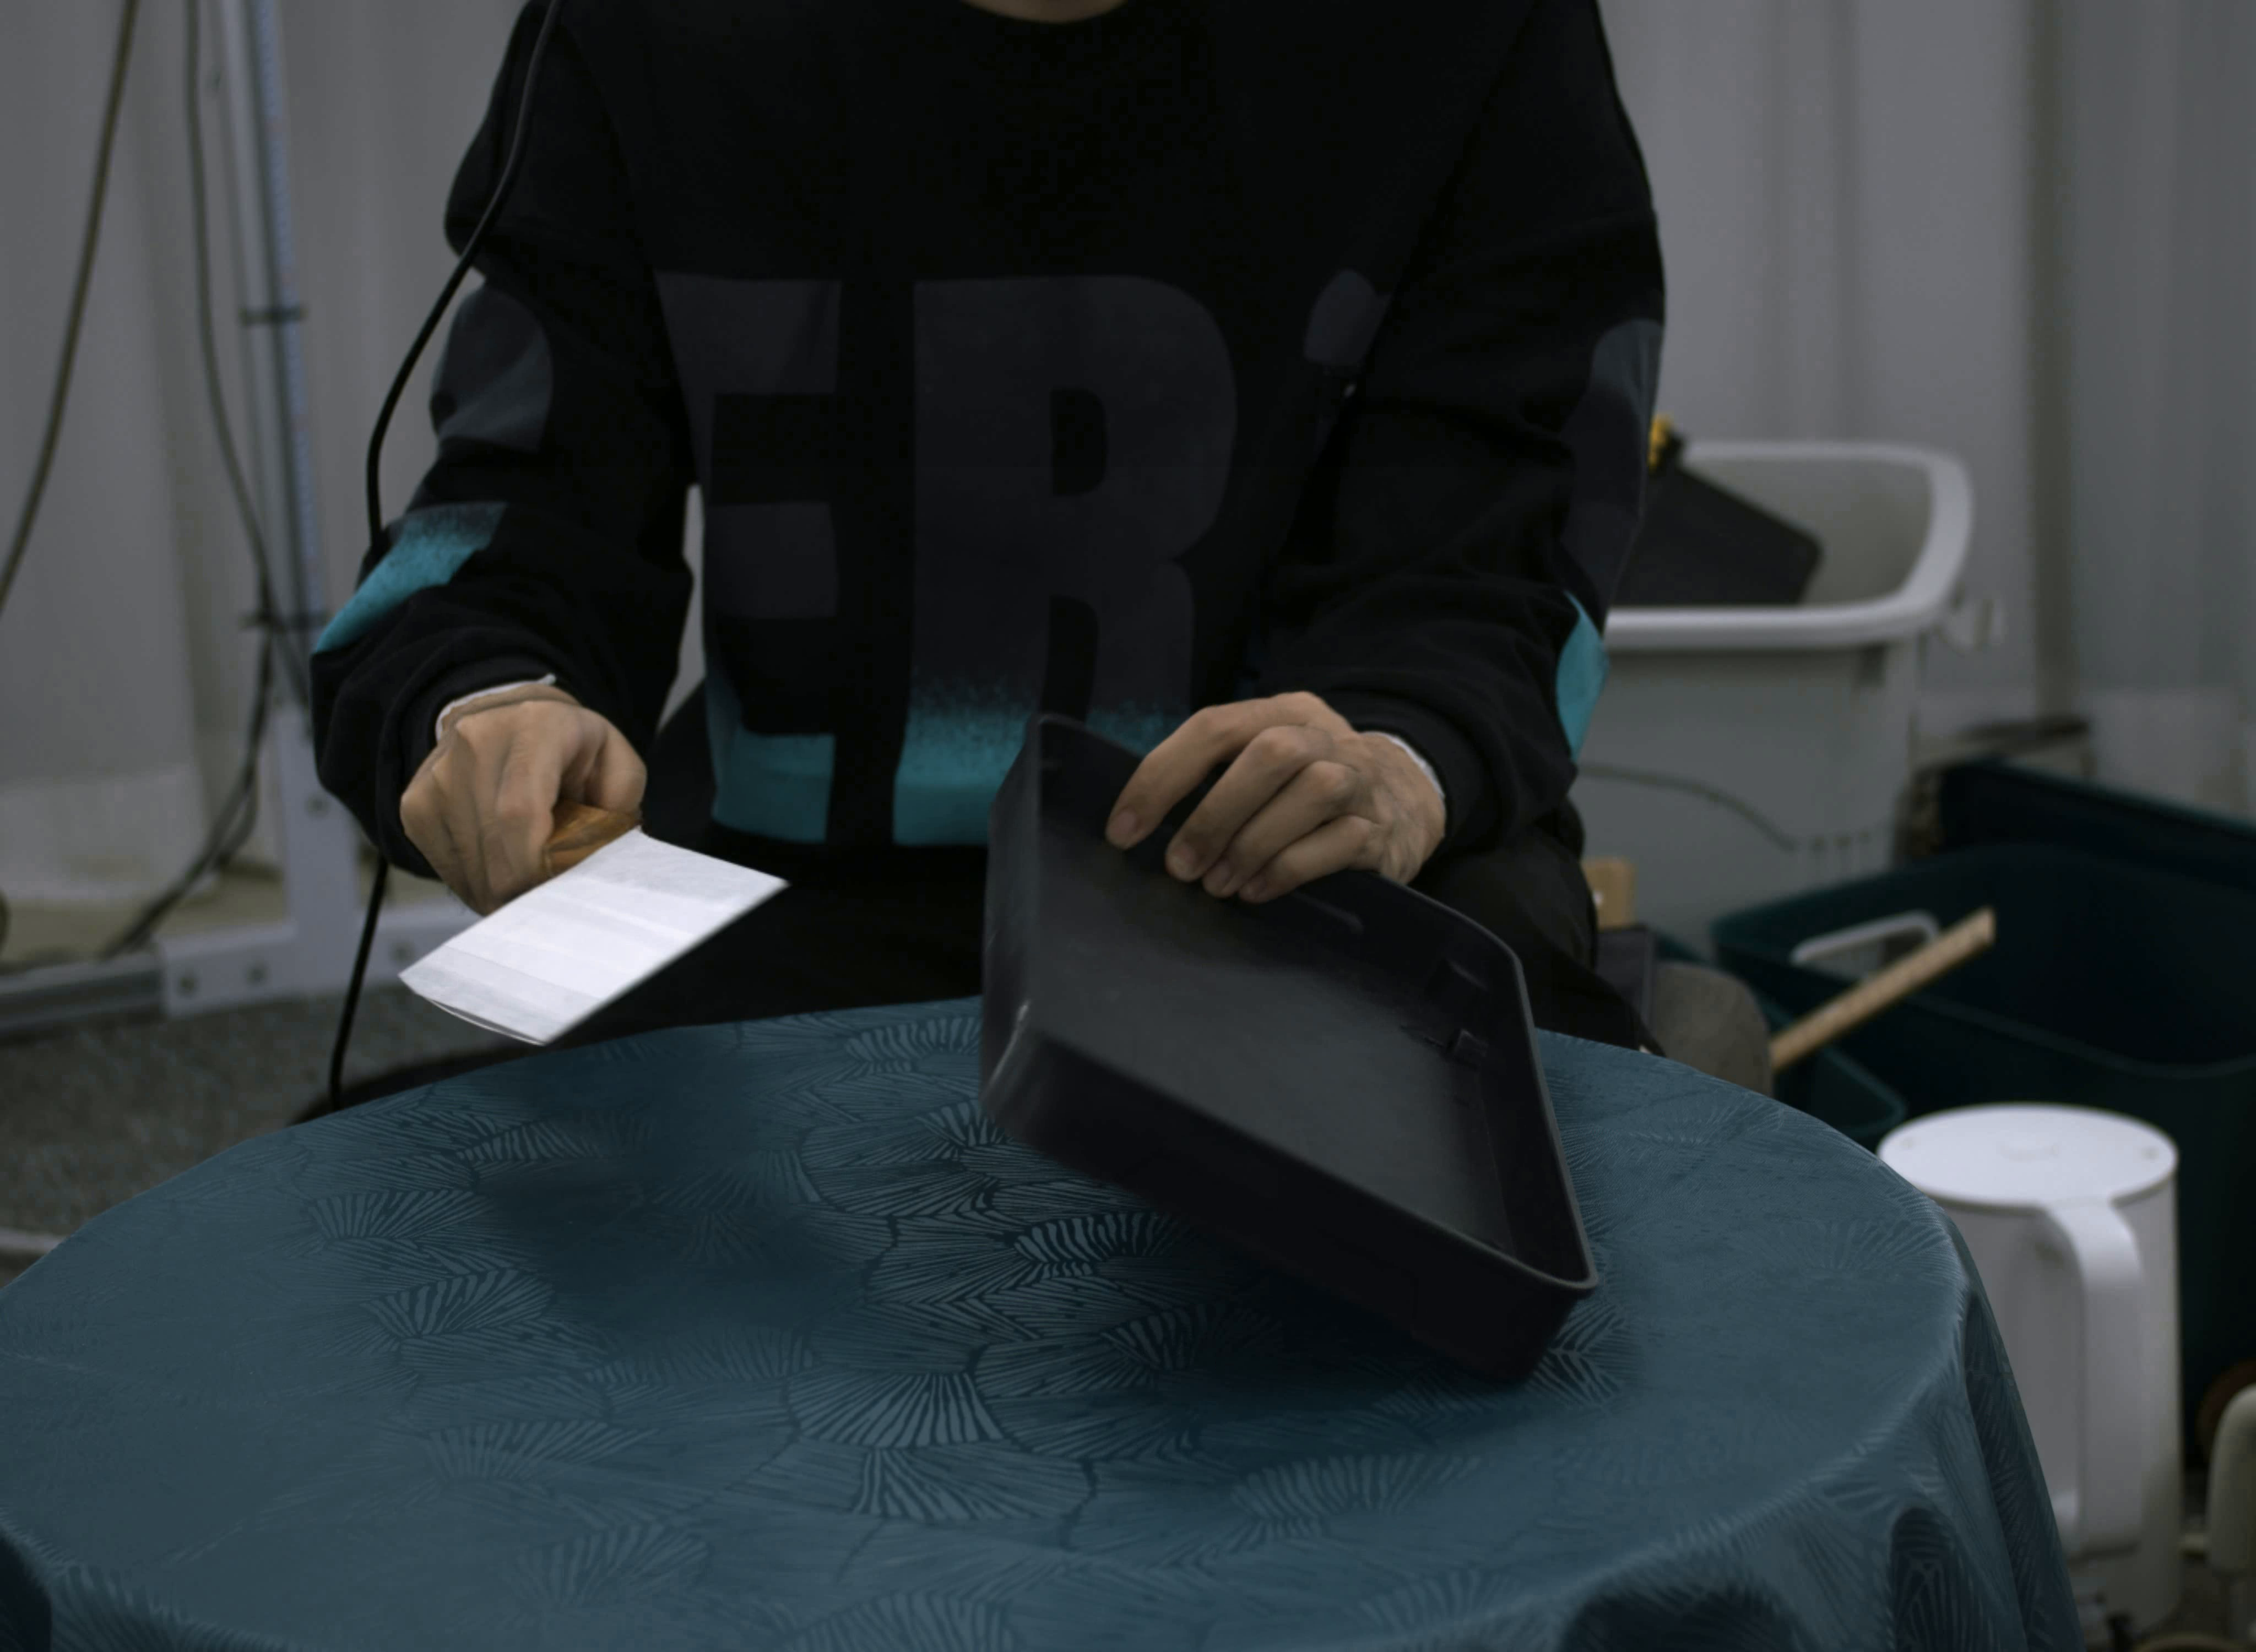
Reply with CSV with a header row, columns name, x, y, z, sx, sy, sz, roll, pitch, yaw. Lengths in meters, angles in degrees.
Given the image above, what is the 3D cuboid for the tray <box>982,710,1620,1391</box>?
name,x,y,z,sx,sy,sz,roll,pitch,yaw
tray,0.044,0.061,1.651,0.183,0.037,0.320,27,14,-10

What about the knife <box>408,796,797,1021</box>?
name,x,y,z,sx,sy,sz,roll,pitch,yaw
knife,-0.186,0.028,1.761,0.093,0.021,0.307,-35,15,-15
